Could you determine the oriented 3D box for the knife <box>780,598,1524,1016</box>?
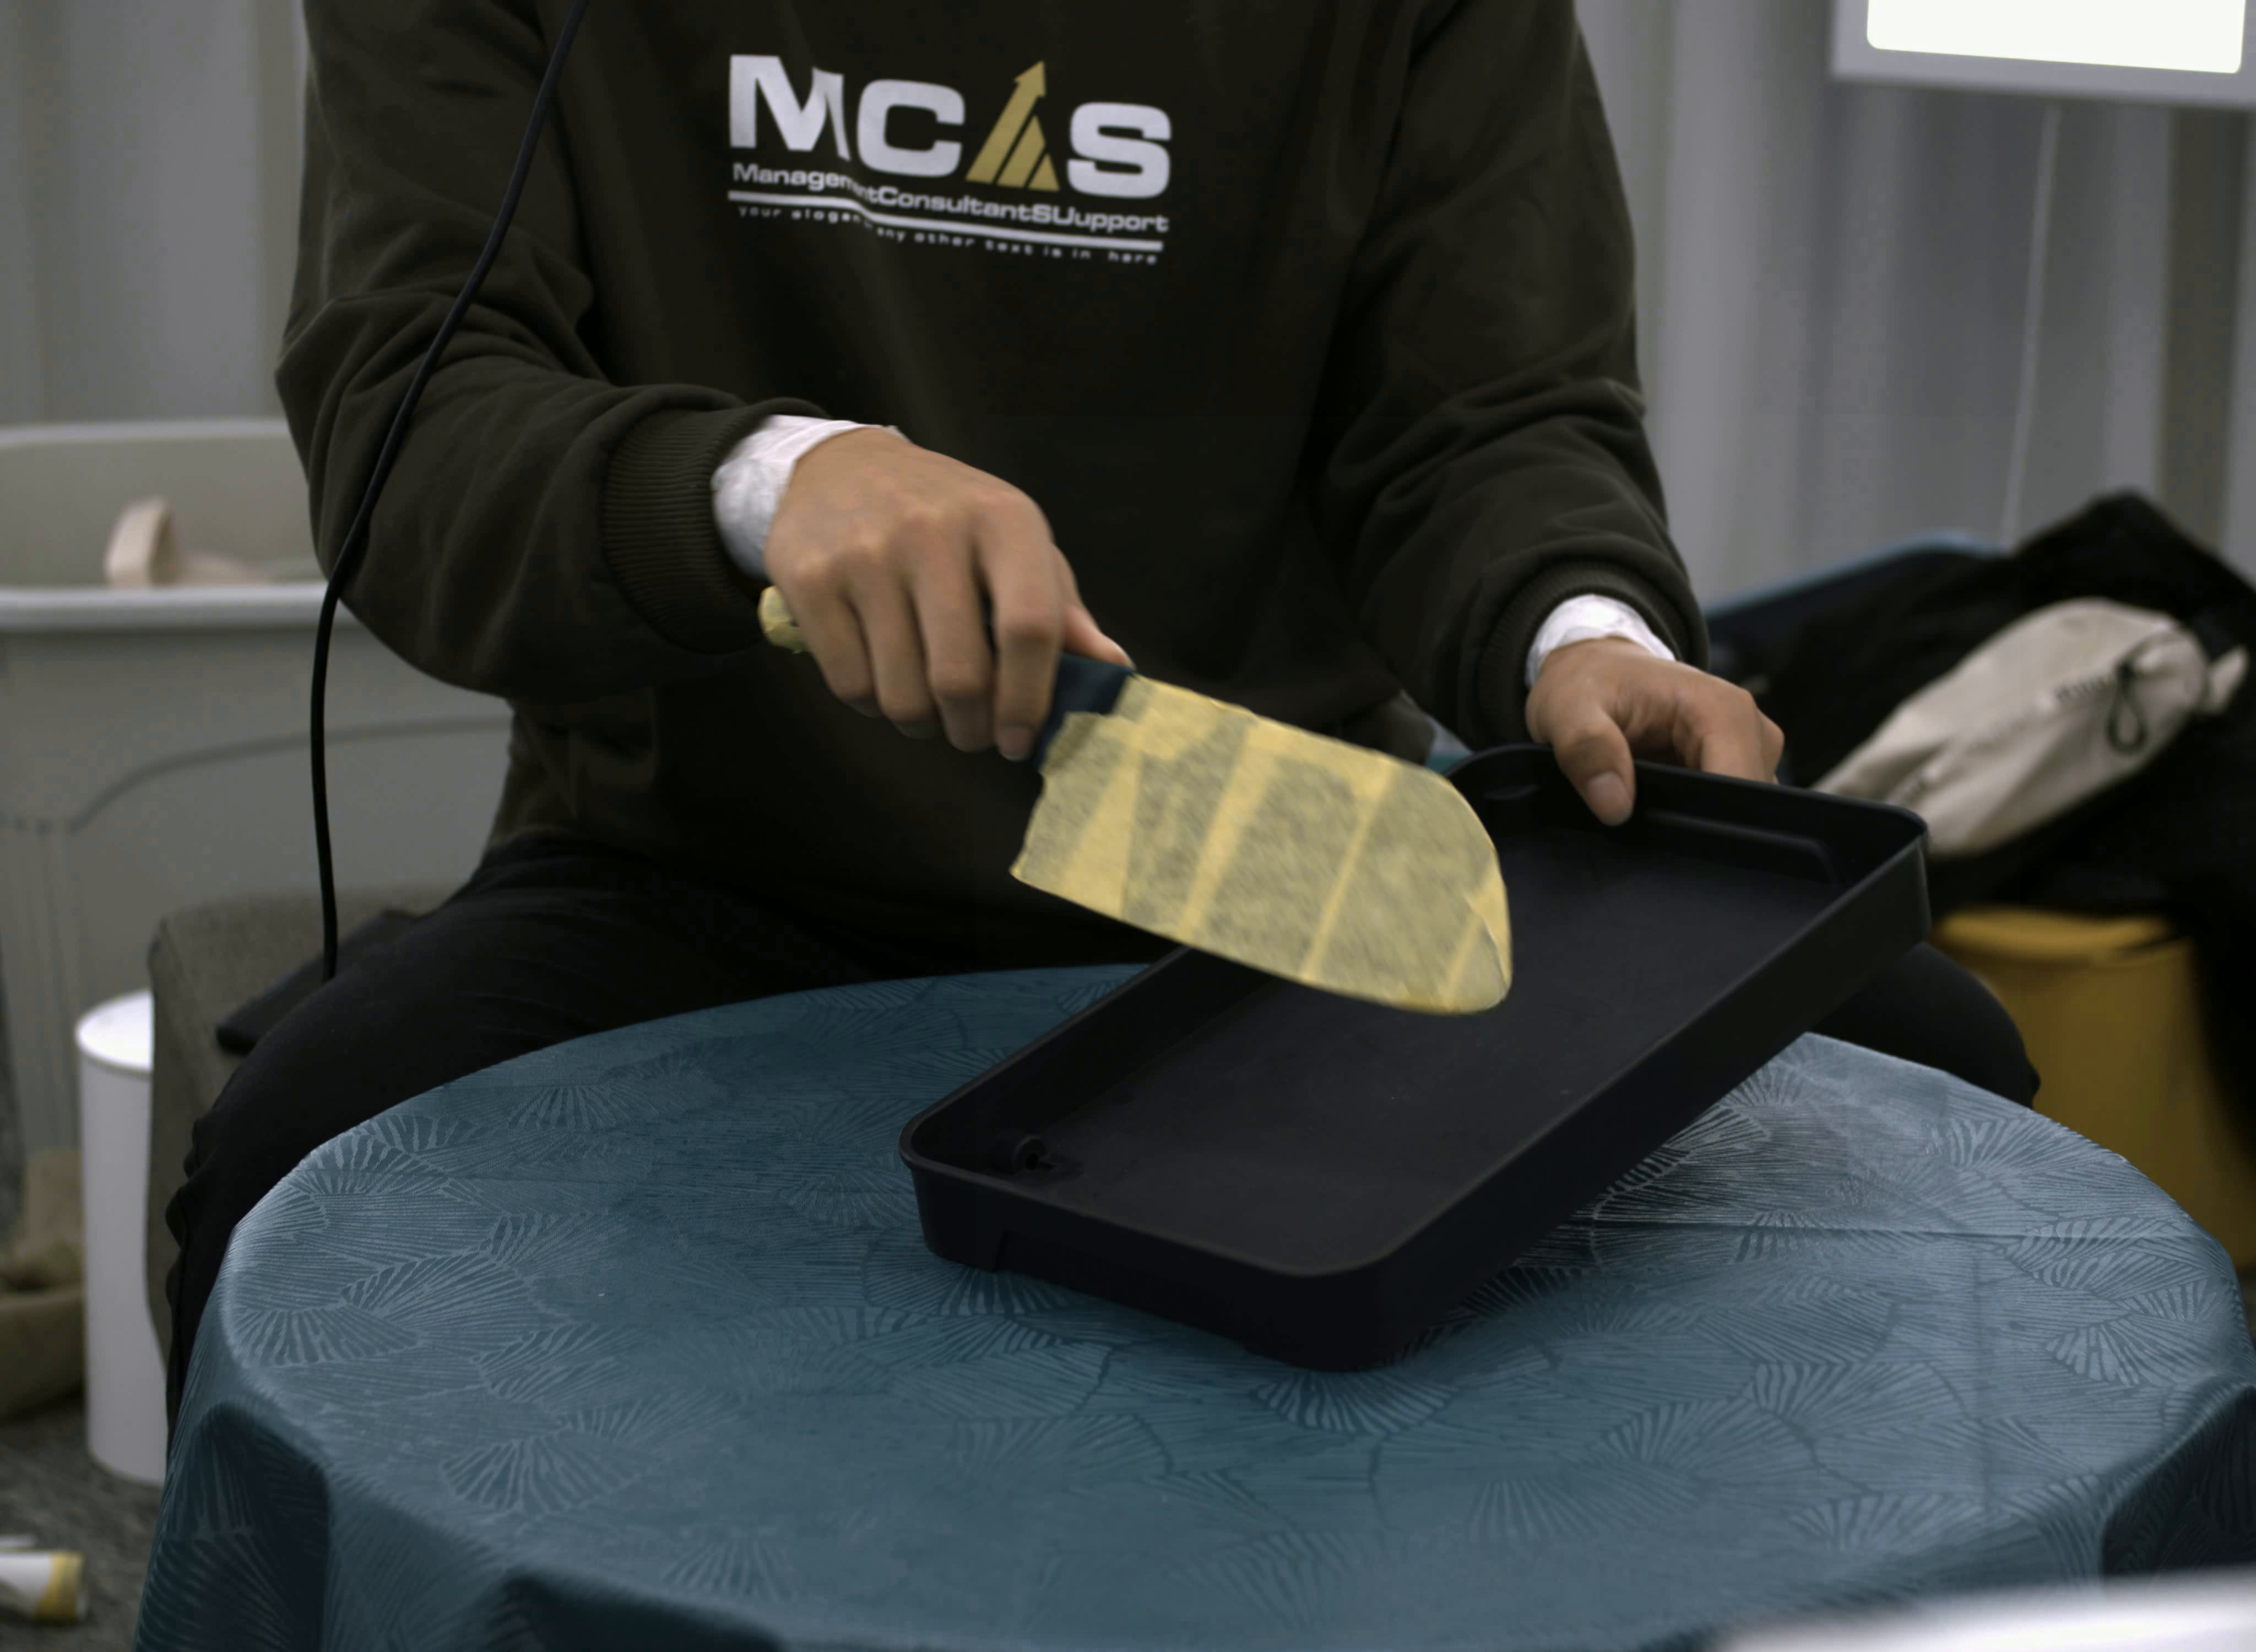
[{"bbox_3d":[0.001,-0.009,1.612,0.286,0.081,0.027,24,-5,30],"label":"knife"}]

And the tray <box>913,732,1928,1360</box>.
[{"bbox_3d":[0.097,0.060,1.621,0.182,0.037,0.318,10,32,38],"label":"tray"}]
